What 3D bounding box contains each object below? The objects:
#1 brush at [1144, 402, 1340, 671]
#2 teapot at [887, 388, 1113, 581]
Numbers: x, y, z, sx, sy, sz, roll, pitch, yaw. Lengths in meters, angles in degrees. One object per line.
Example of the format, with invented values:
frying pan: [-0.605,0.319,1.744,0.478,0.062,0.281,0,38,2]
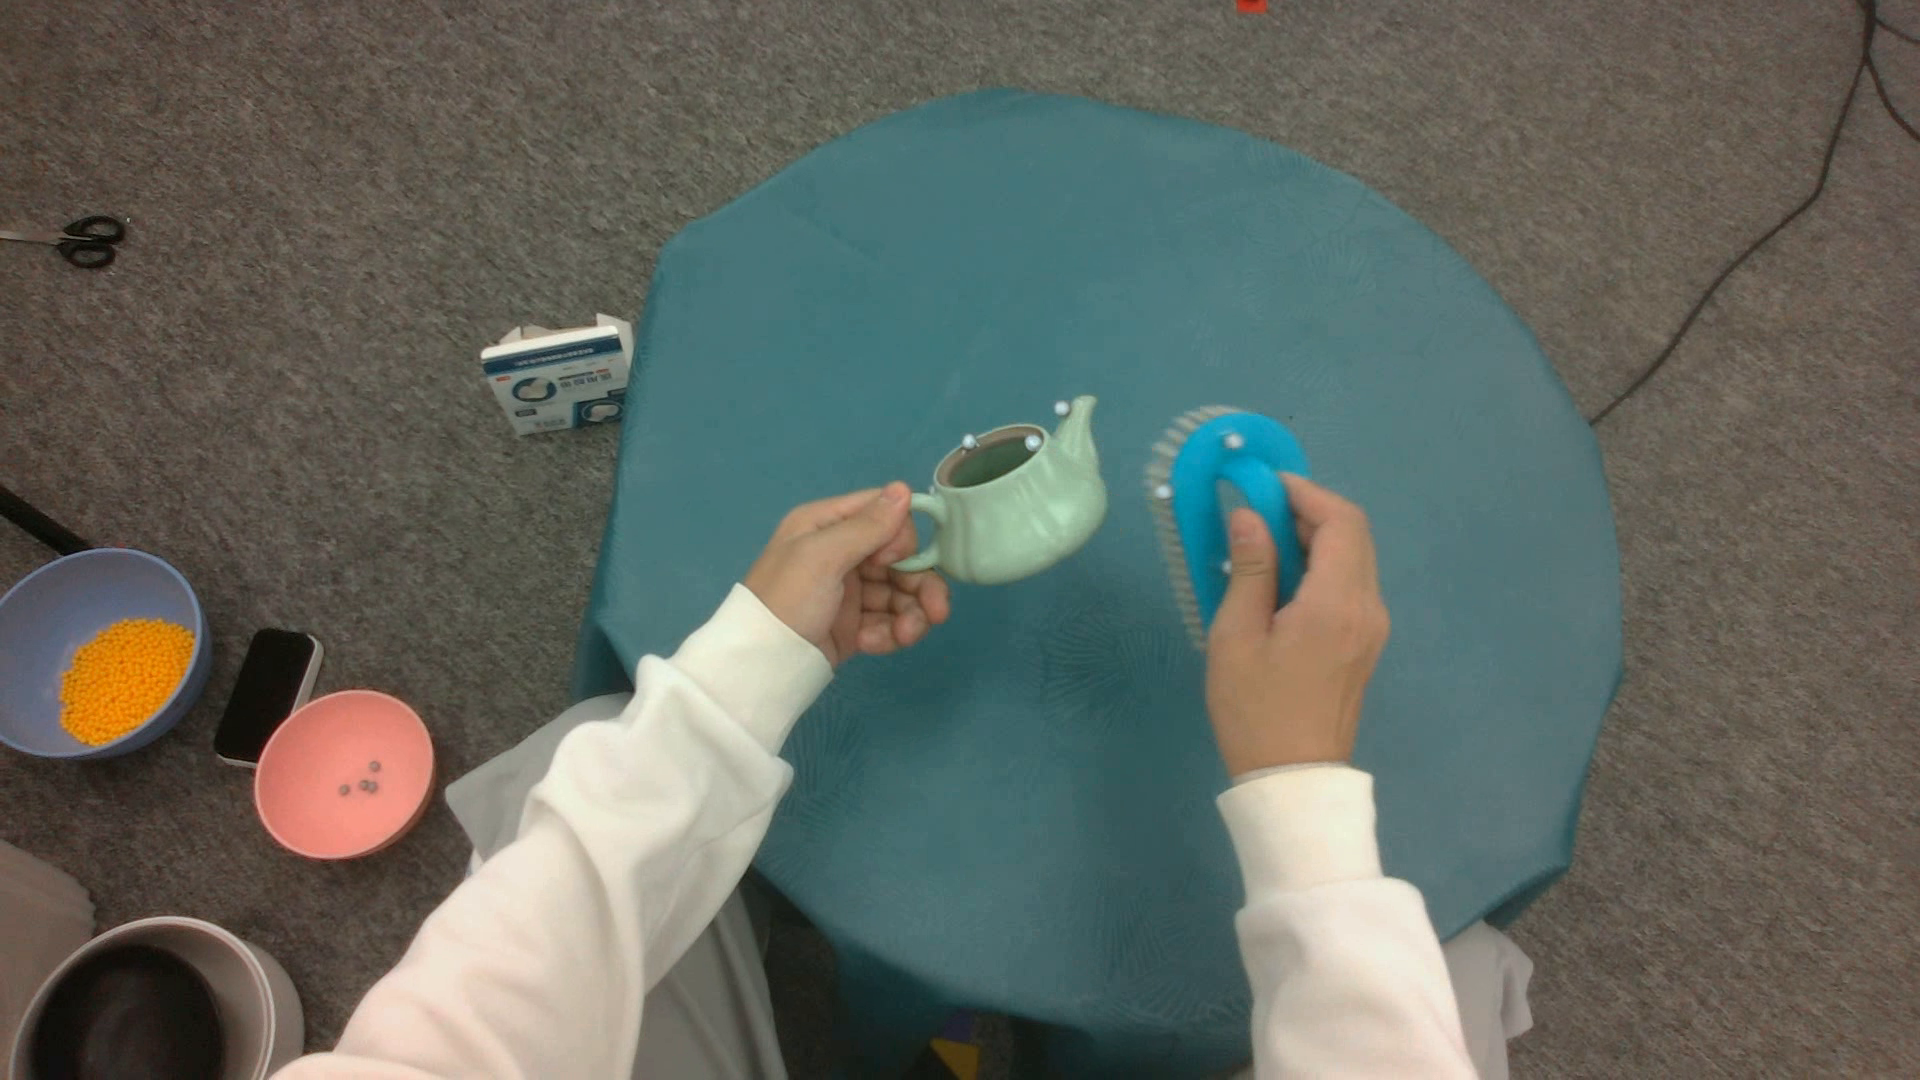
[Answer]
brush: [0.151,-0.001,0.689,0.084,0.064,0.141,-22,106,-17]
teapot: [0.025,-0.020,0.709,0.137,0.061,0.096,-33,29,-15]
